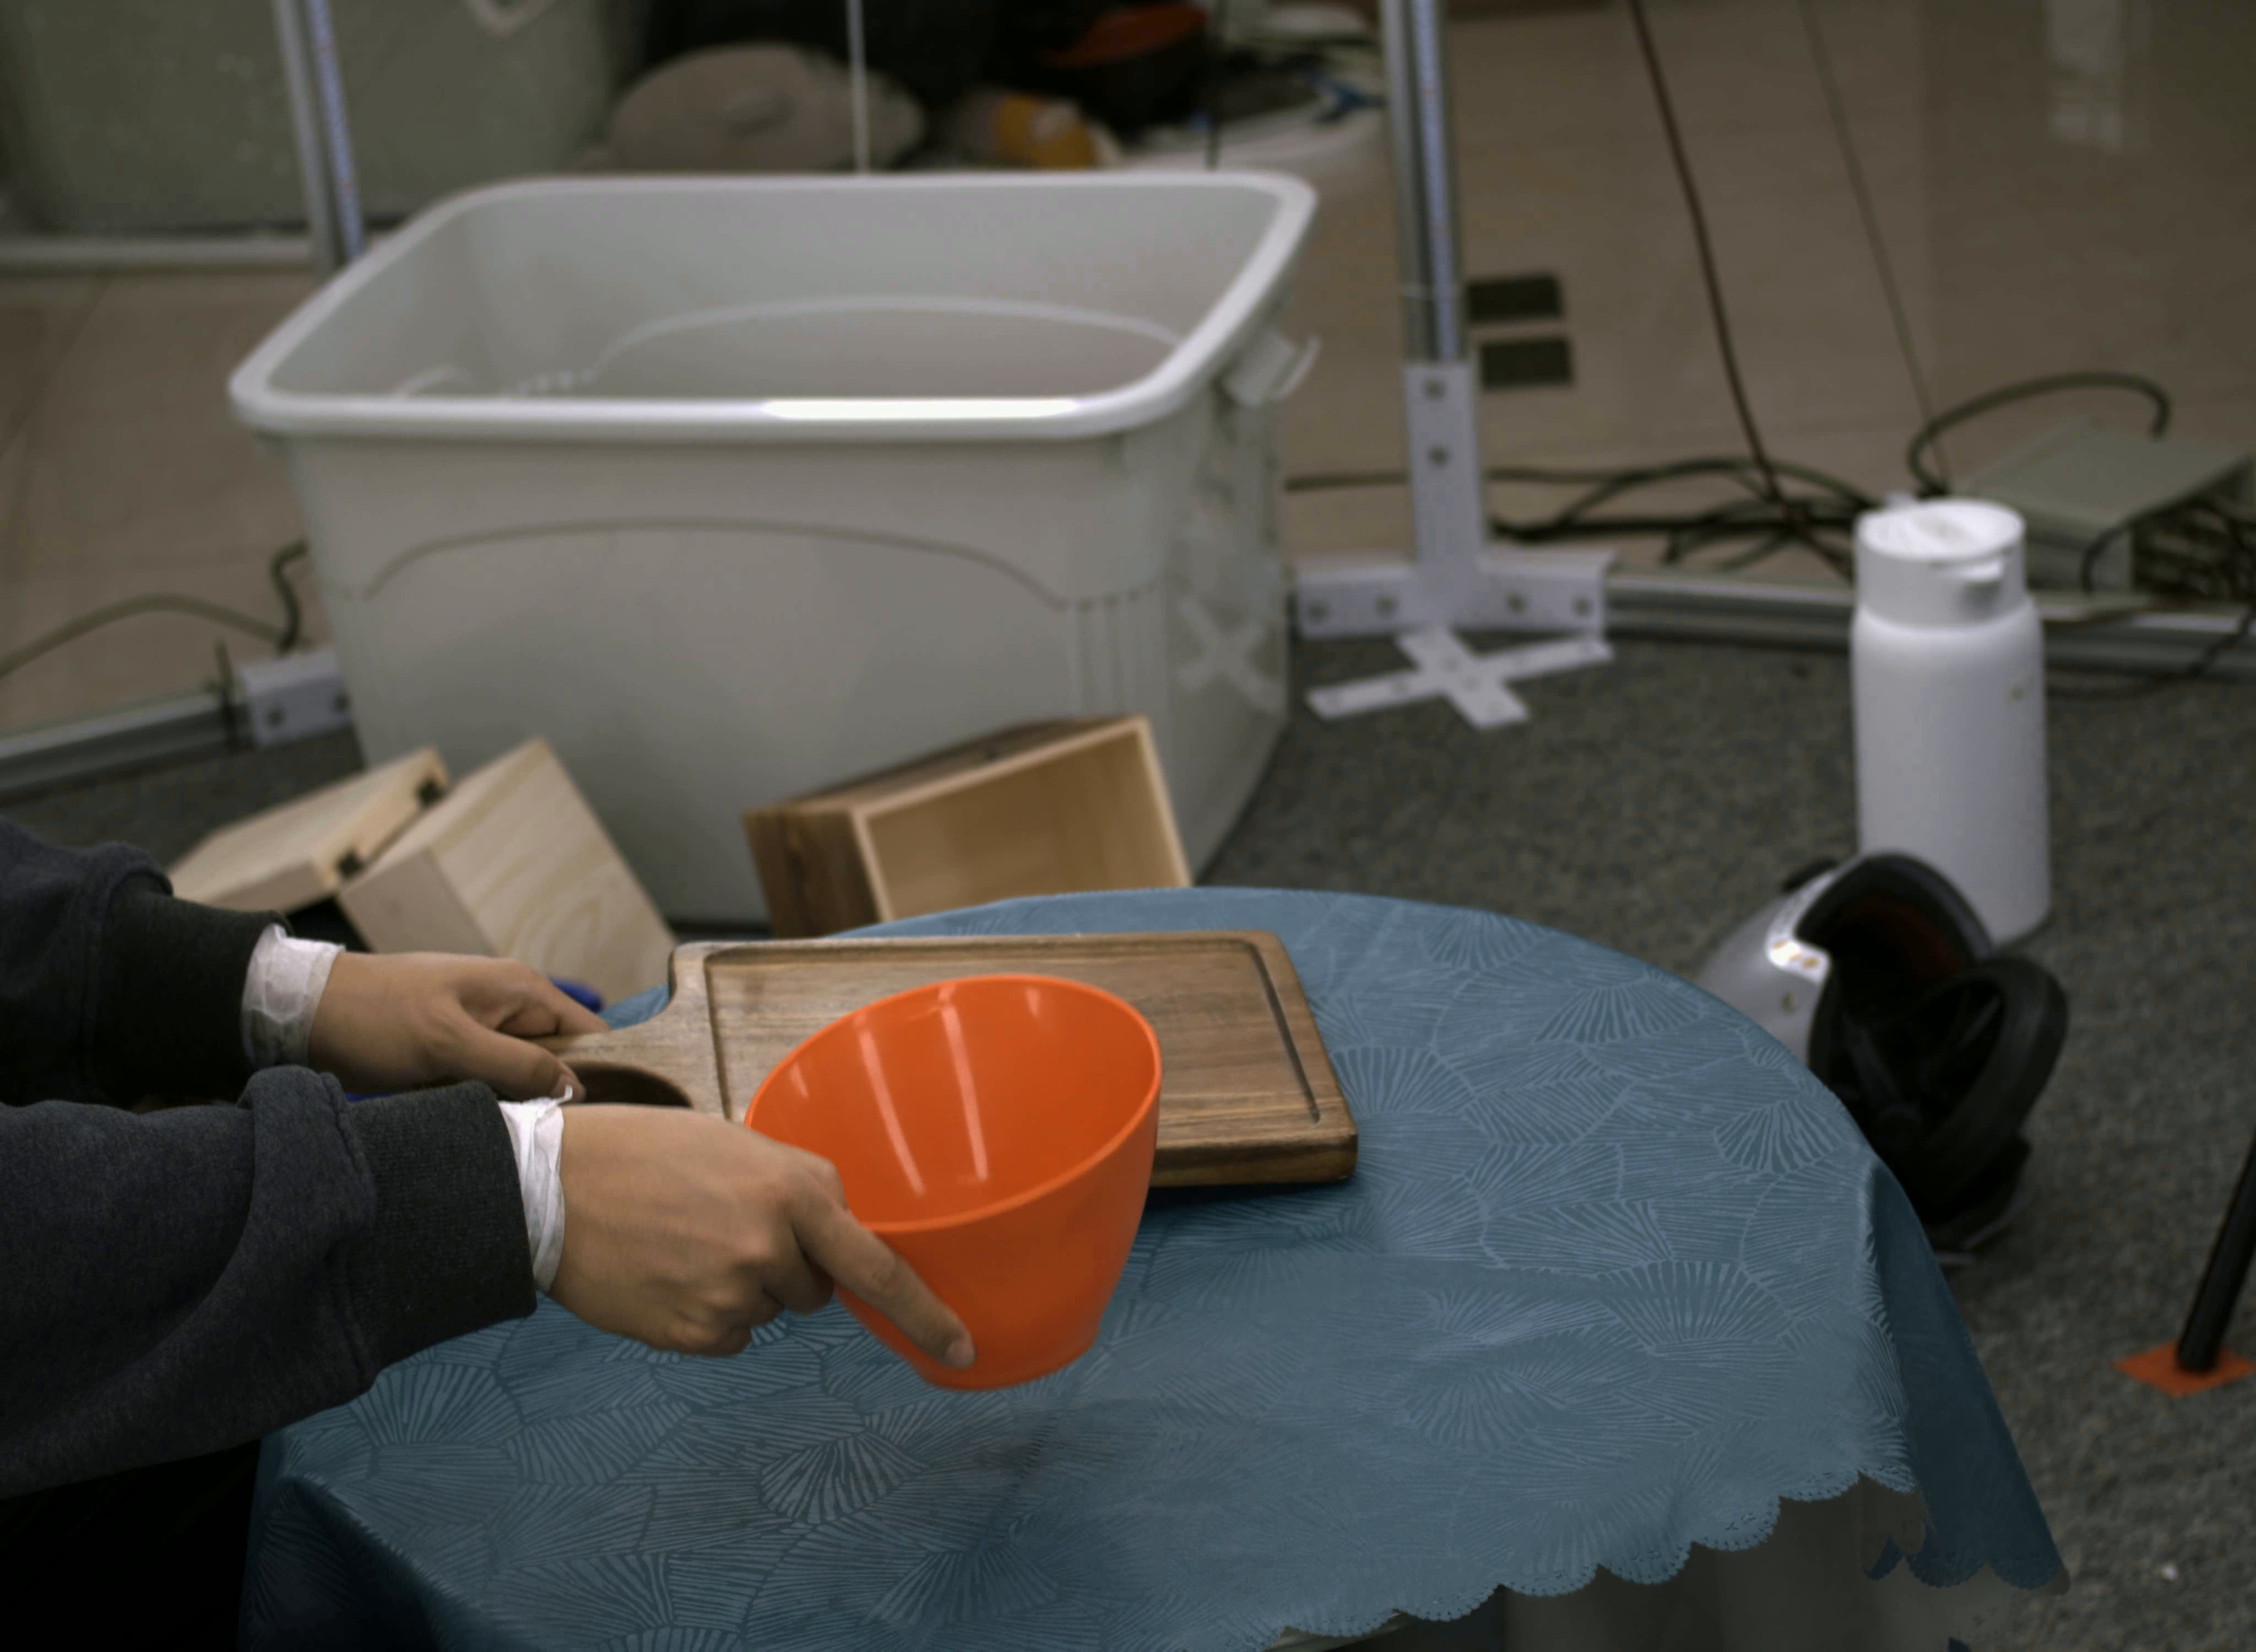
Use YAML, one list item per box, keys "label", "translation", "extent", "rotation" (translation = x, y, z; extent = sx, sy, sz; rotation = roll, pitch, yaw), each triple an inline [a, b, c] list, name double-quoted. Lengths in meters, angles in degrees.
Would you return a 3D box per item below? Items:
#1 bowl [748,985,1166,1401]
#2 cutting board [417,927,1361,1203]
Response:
- label: "bowl"
  translation: [-0.051, 0.133, 1.965]
  extent: [0.148, 0.106, 0.146]
  rotation: [-10, 22, 4]
- label: "cutting board"
  translation: [-0.098, 0.091, 2.192]
  extent: [0.351, 0.023, 0.198]
  rotation: [-1, 24, -8]
